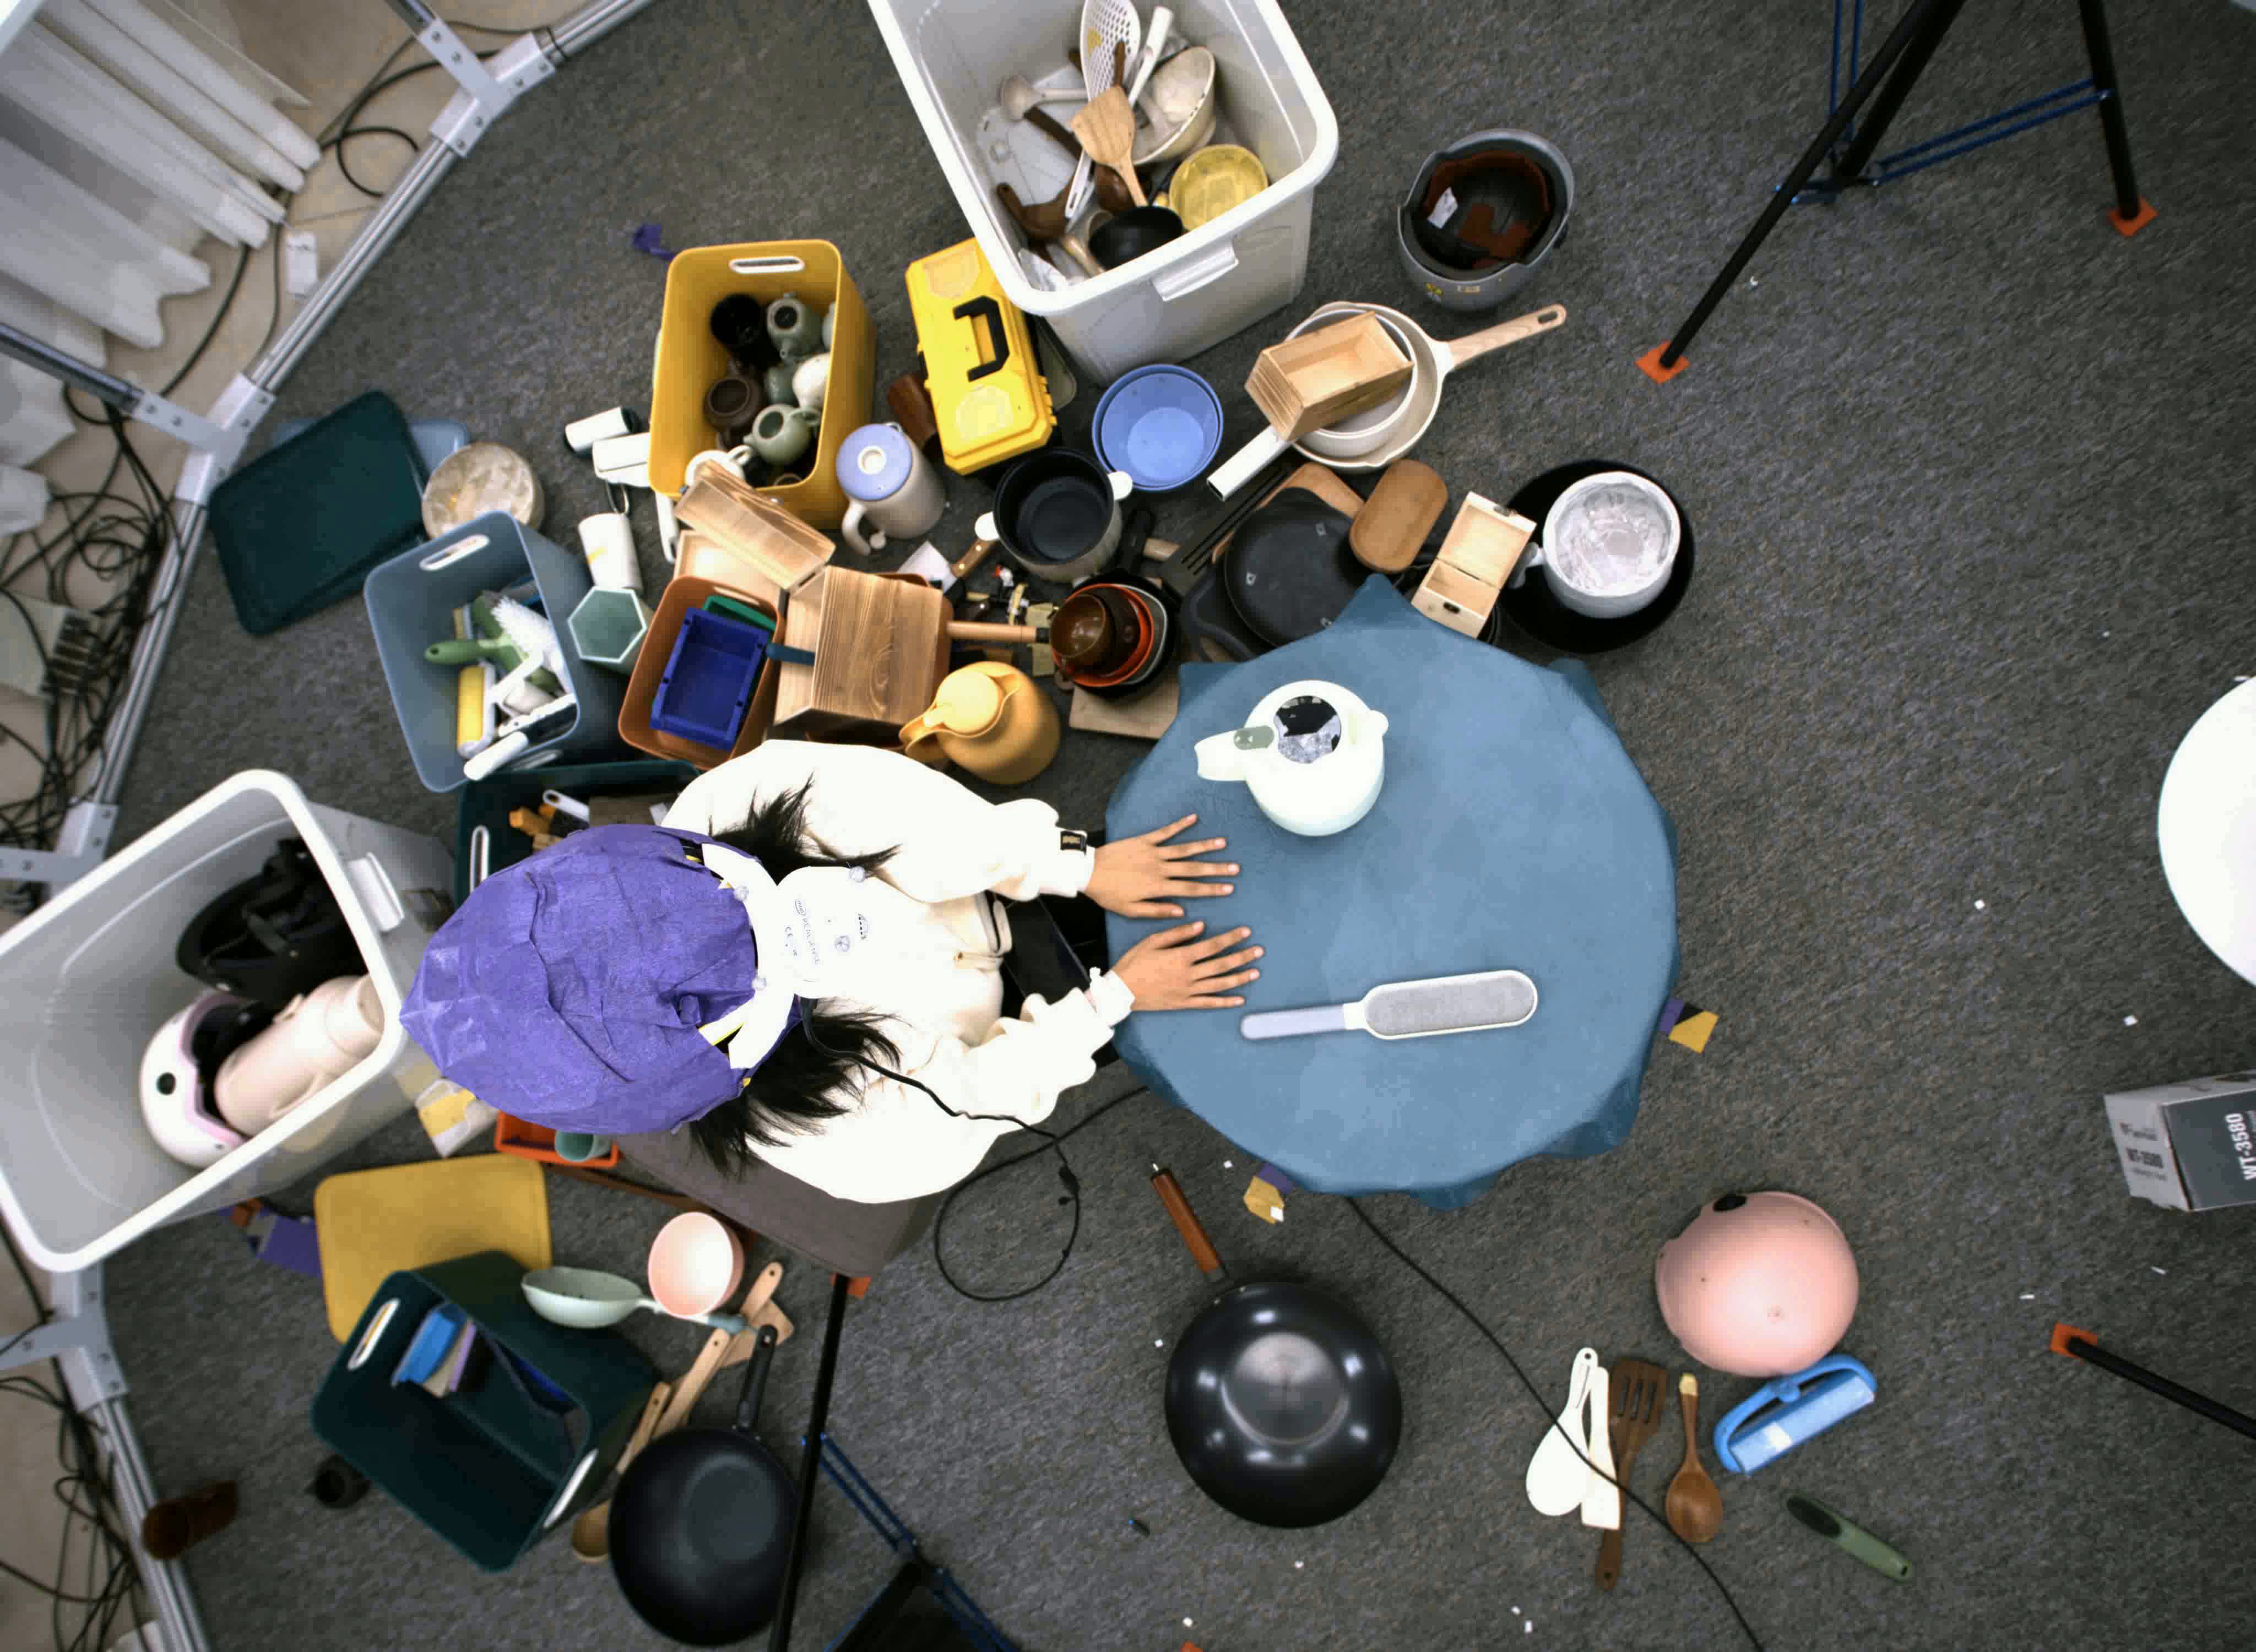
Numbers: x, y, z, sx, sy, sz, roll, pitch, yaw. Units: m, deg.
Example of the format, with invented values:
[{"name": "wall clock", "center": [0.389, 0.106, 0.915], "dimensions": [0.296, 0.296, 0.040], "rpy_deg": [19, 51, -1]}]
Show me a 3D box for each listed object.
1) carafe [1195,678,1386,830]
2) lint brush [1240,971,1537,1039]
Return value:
[{"name": "carafe", "center": [0.166, -0.075, 1.361], "dimensions": [0.188, 0.256, 0.143], "rpy_deg": [-8, 85, 13]}, {"name": "lint brush", "center": [0.270, 0.191, 1.442], "dimensions": [0.310, 0.021, 0.060], "rpy_deg": [-8, 87, 11]}]
